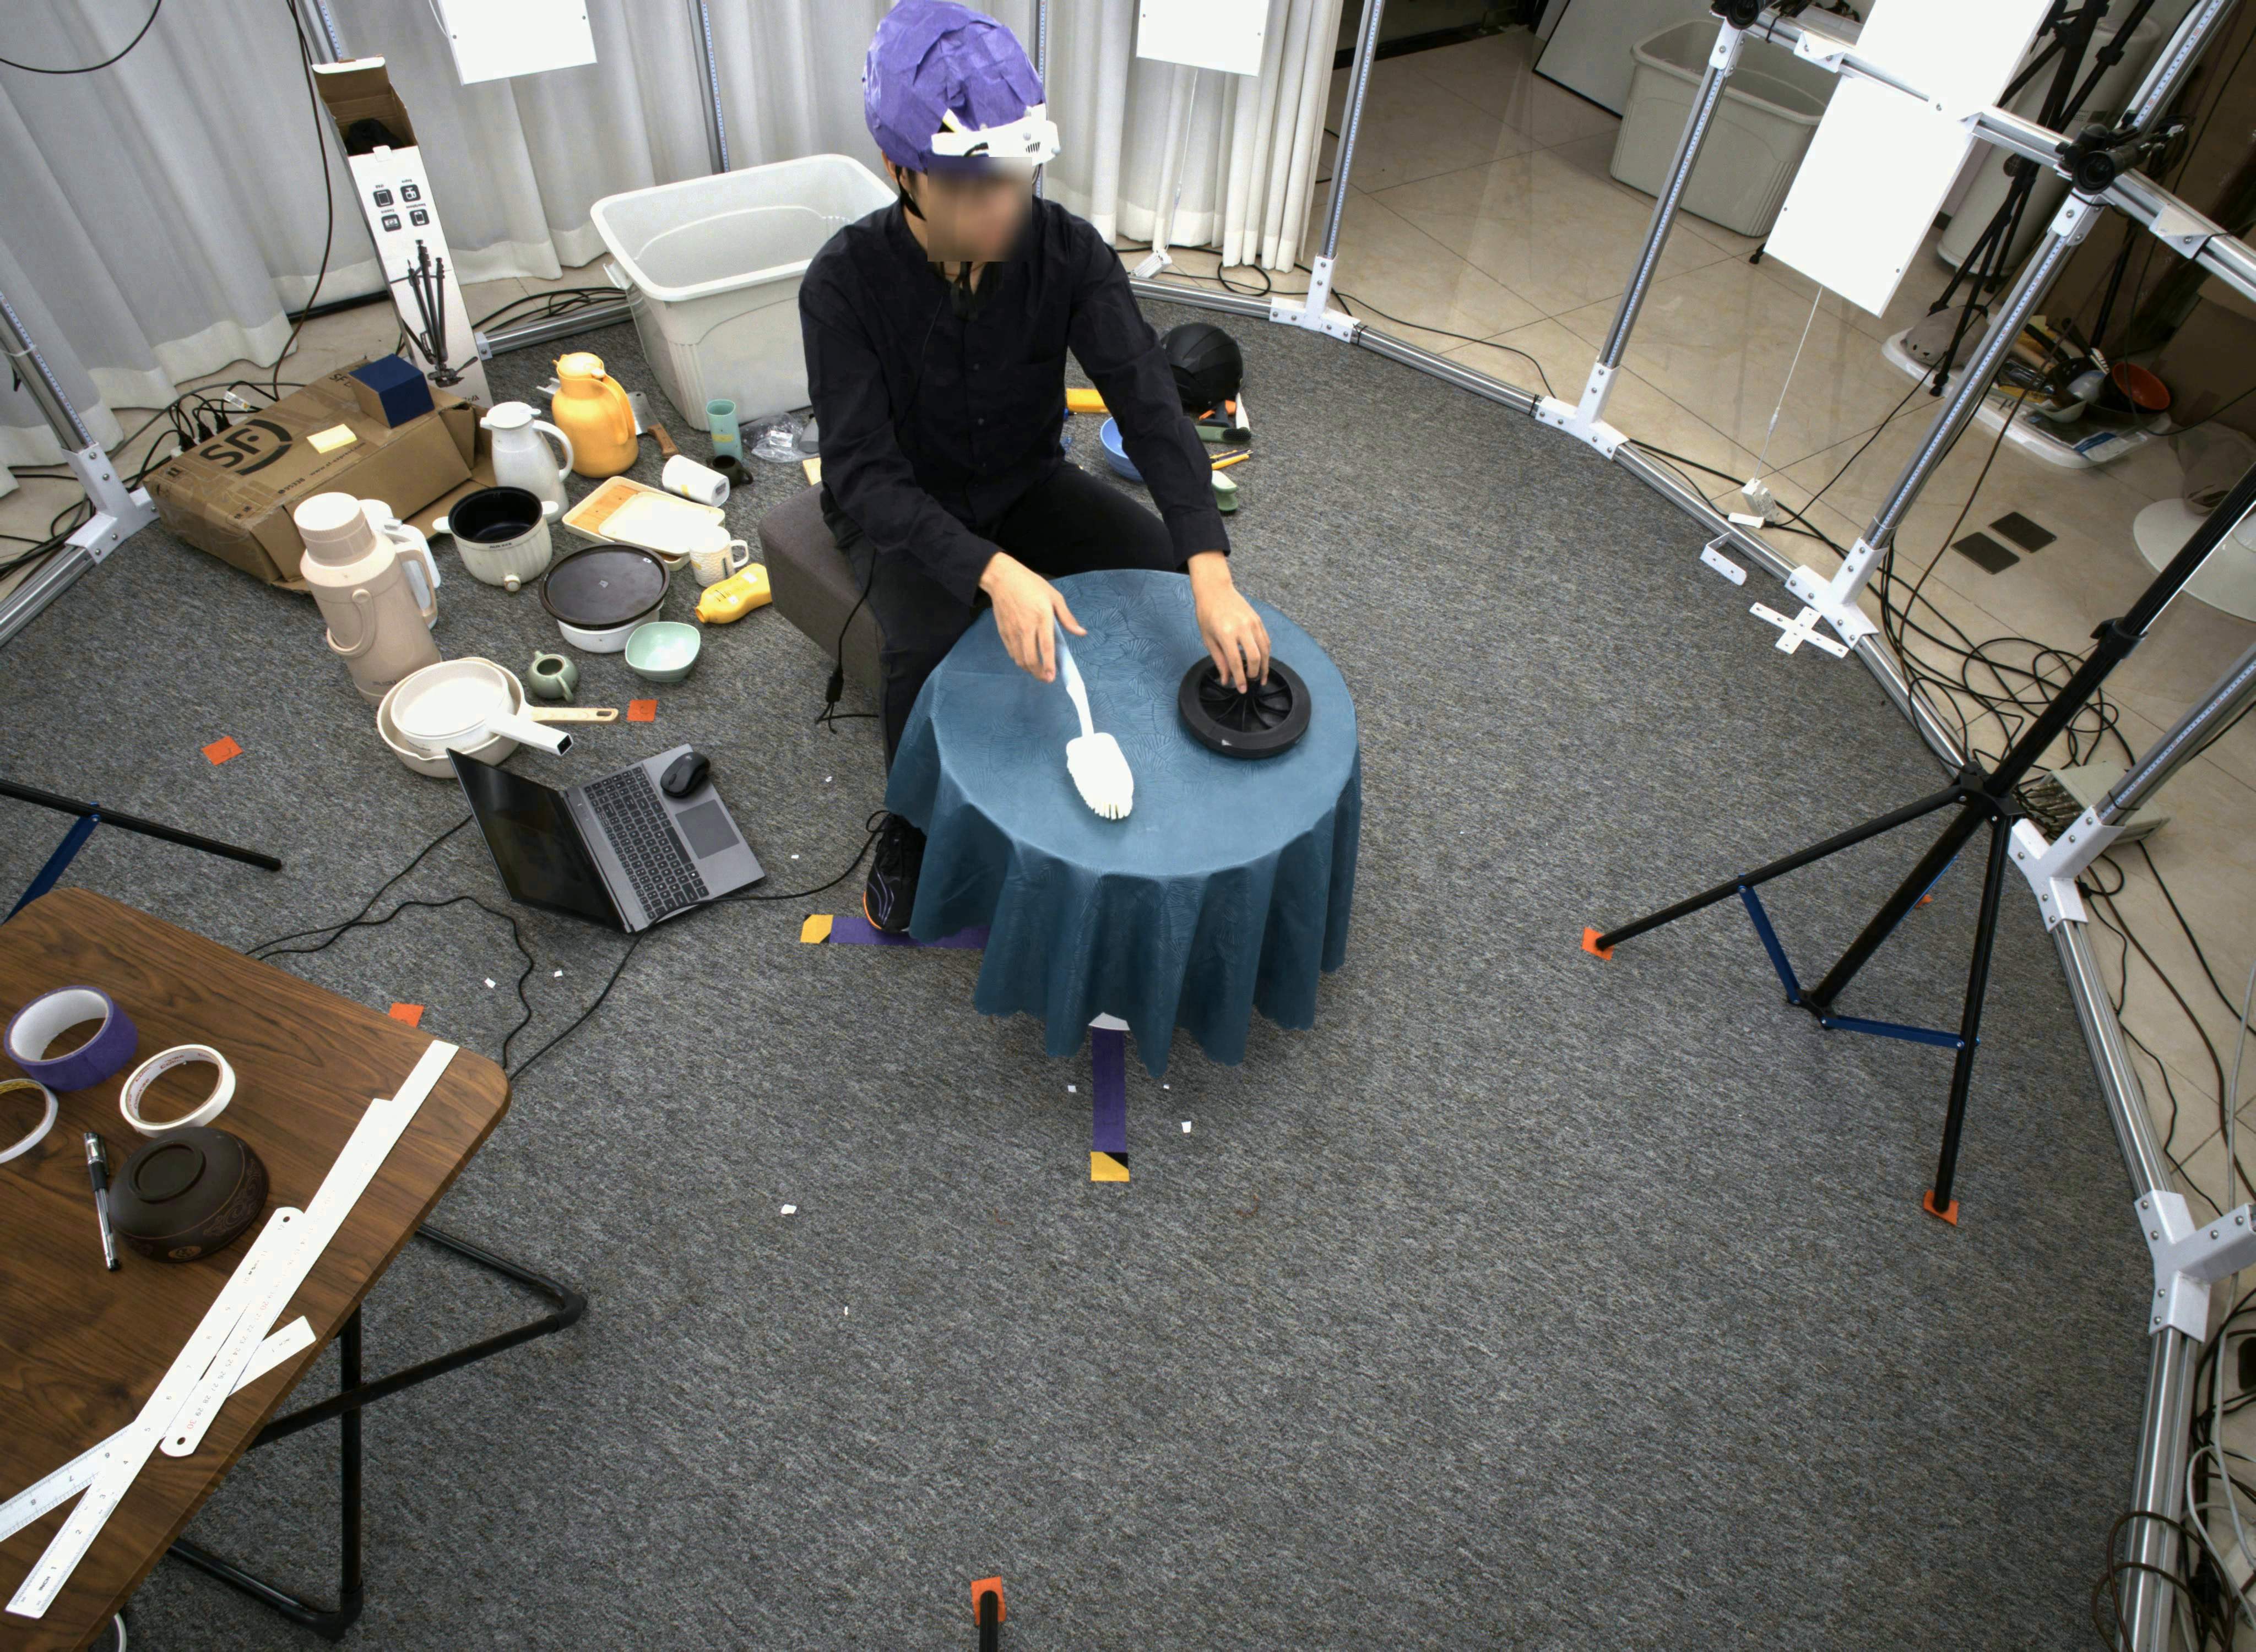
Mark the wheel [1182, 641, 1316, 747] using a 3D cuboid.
[{"bbox_3d":[0.172,-0.202,1.801,0.190,0.077,0.192,6,53,2],"label":"wheel"}]

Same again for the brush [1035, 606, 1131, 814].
[{"bbox_3d":[-0.065,-0.154,1.744,0.082,0.083,0.332,9,51,-48],"label":"brush"}]
